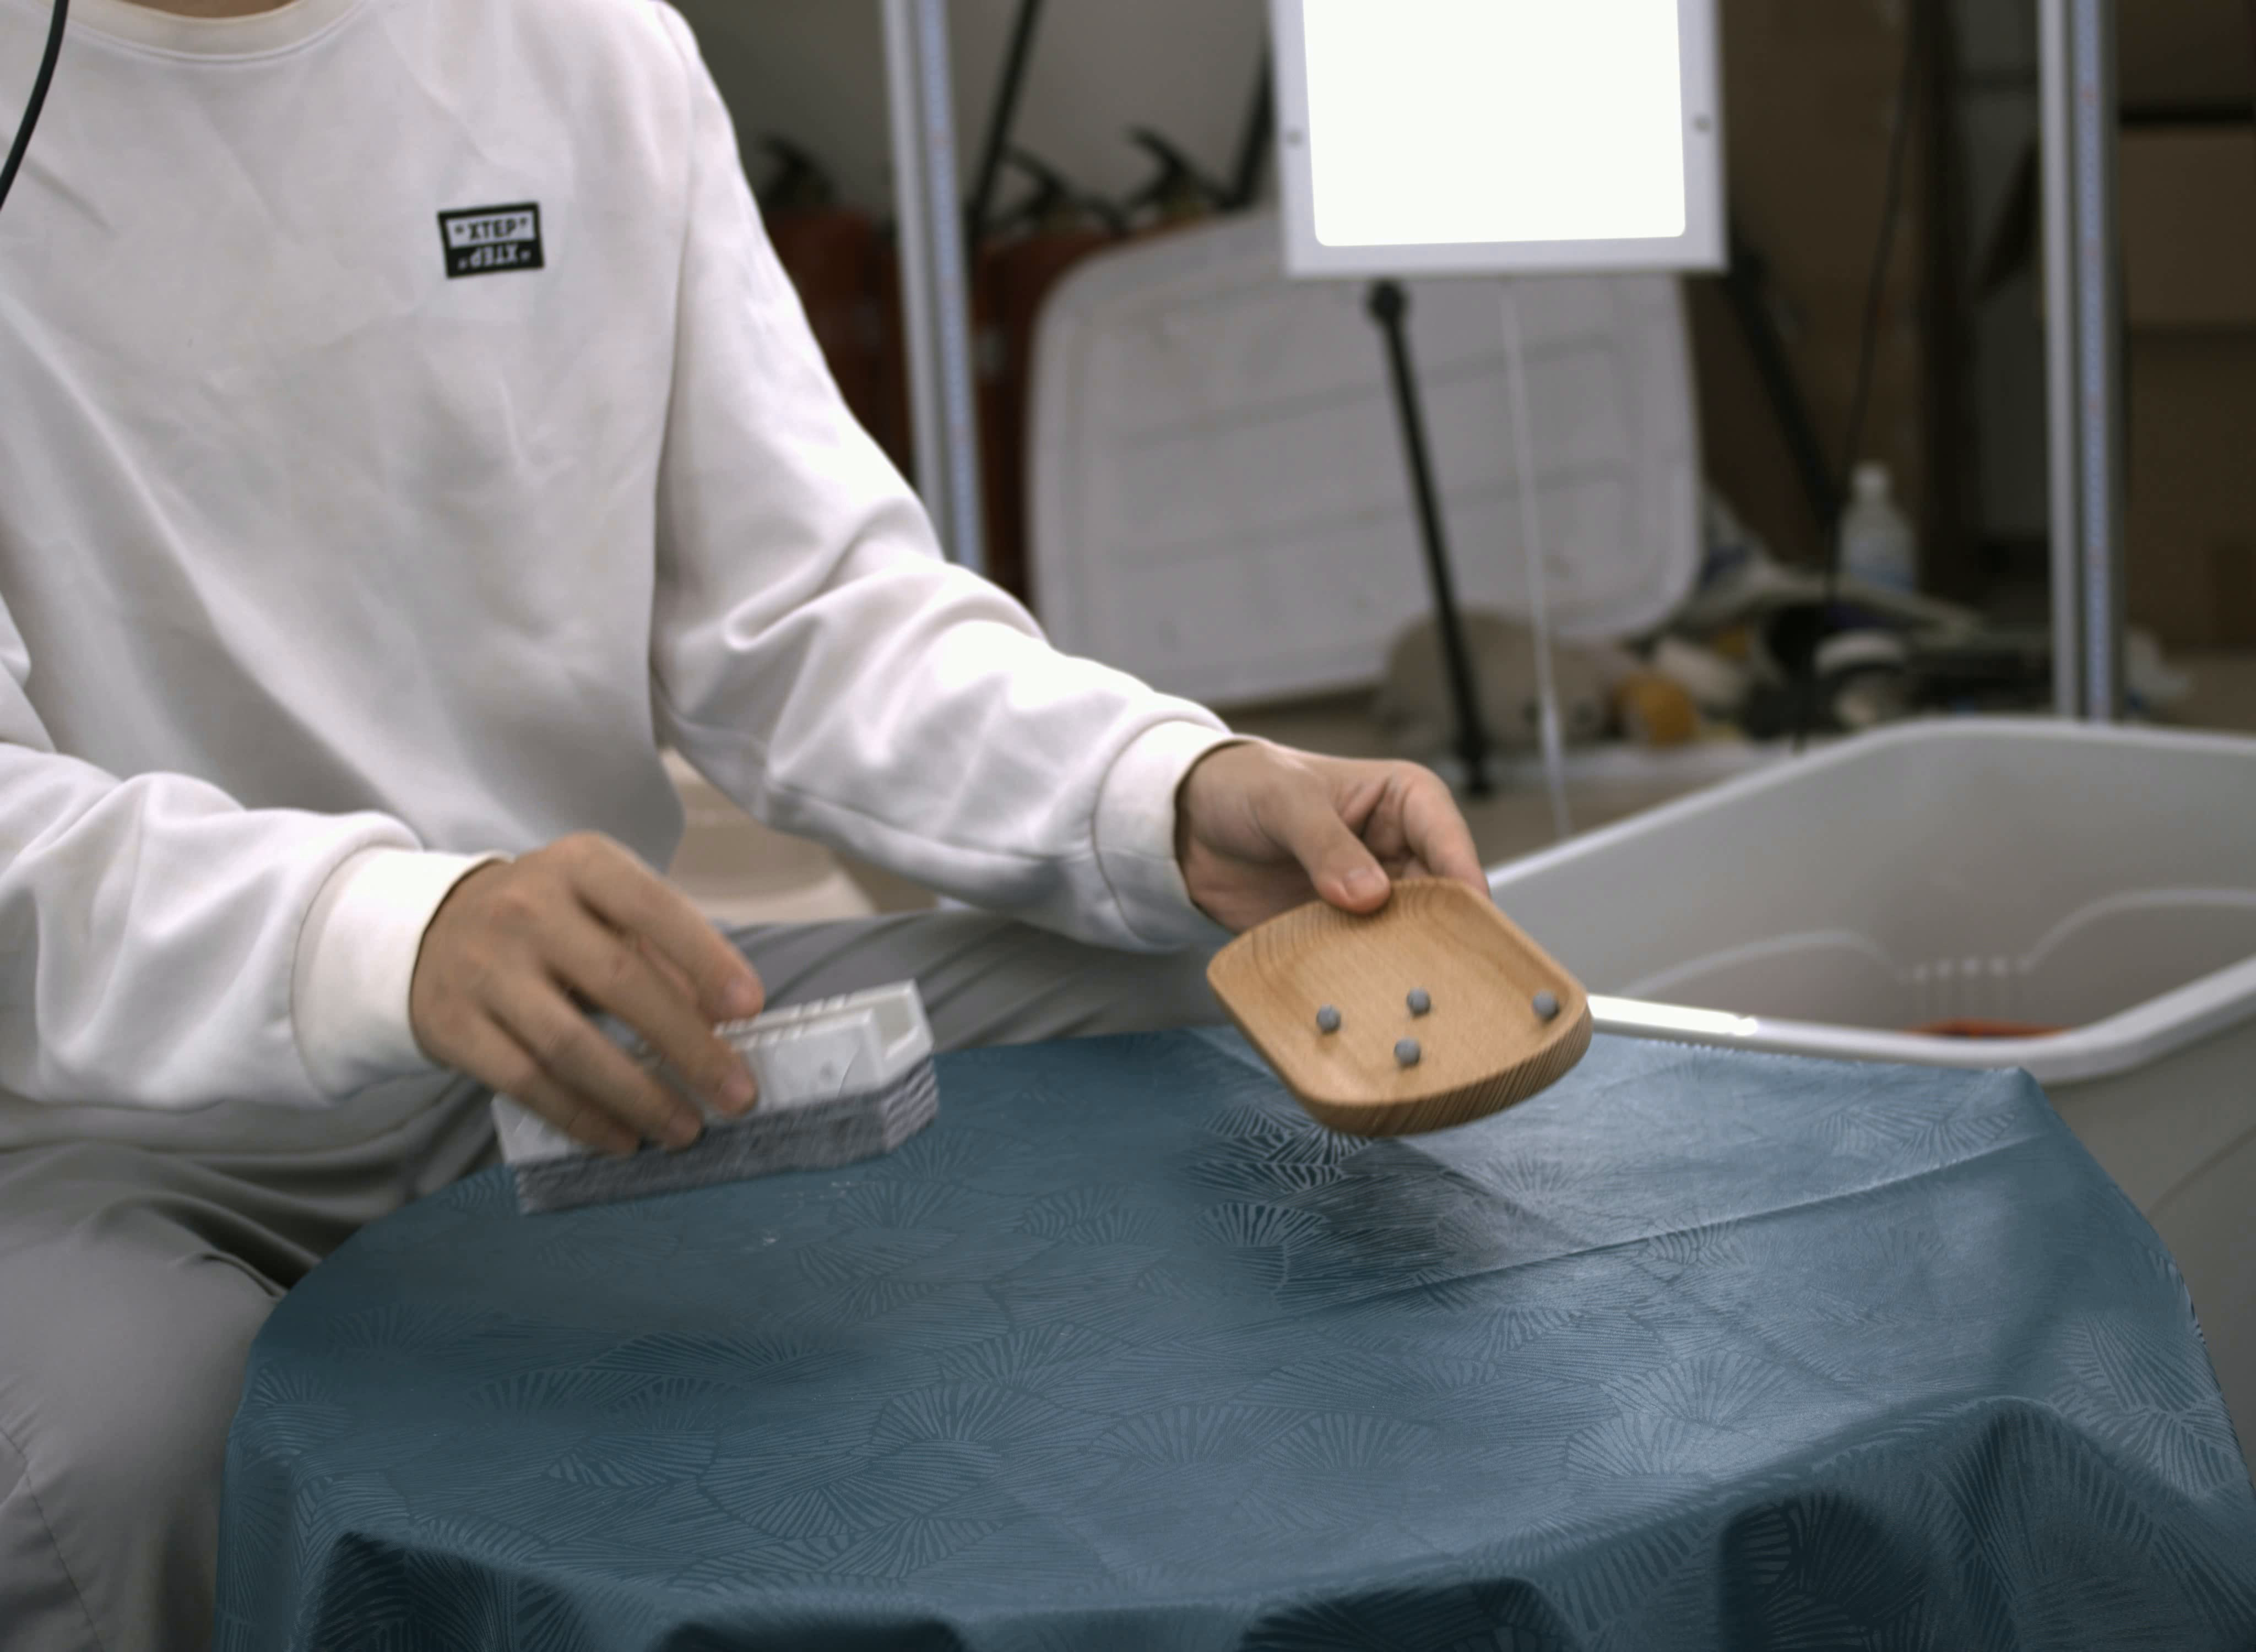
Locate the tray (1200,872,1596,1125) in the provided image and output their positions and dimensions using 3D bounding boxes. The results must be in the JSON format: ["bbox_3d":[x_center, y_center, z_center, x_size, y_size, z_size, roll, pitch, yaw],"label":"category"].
[{"bbox_3d":[0.090,0.057,1.859,0.101,0.020,0.233,-20,15,-8],"label":"tray"}]

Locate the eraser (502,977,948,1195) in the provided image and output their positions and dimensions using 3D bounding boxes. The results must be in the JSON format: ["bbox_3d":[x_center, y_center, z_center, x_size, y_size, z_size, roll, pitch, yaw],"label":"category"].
[{"bbox_3d":[-0.129,0.084,1.774,0.136,0.046,0.049,-12,4,18],"label":"eraser"}]
